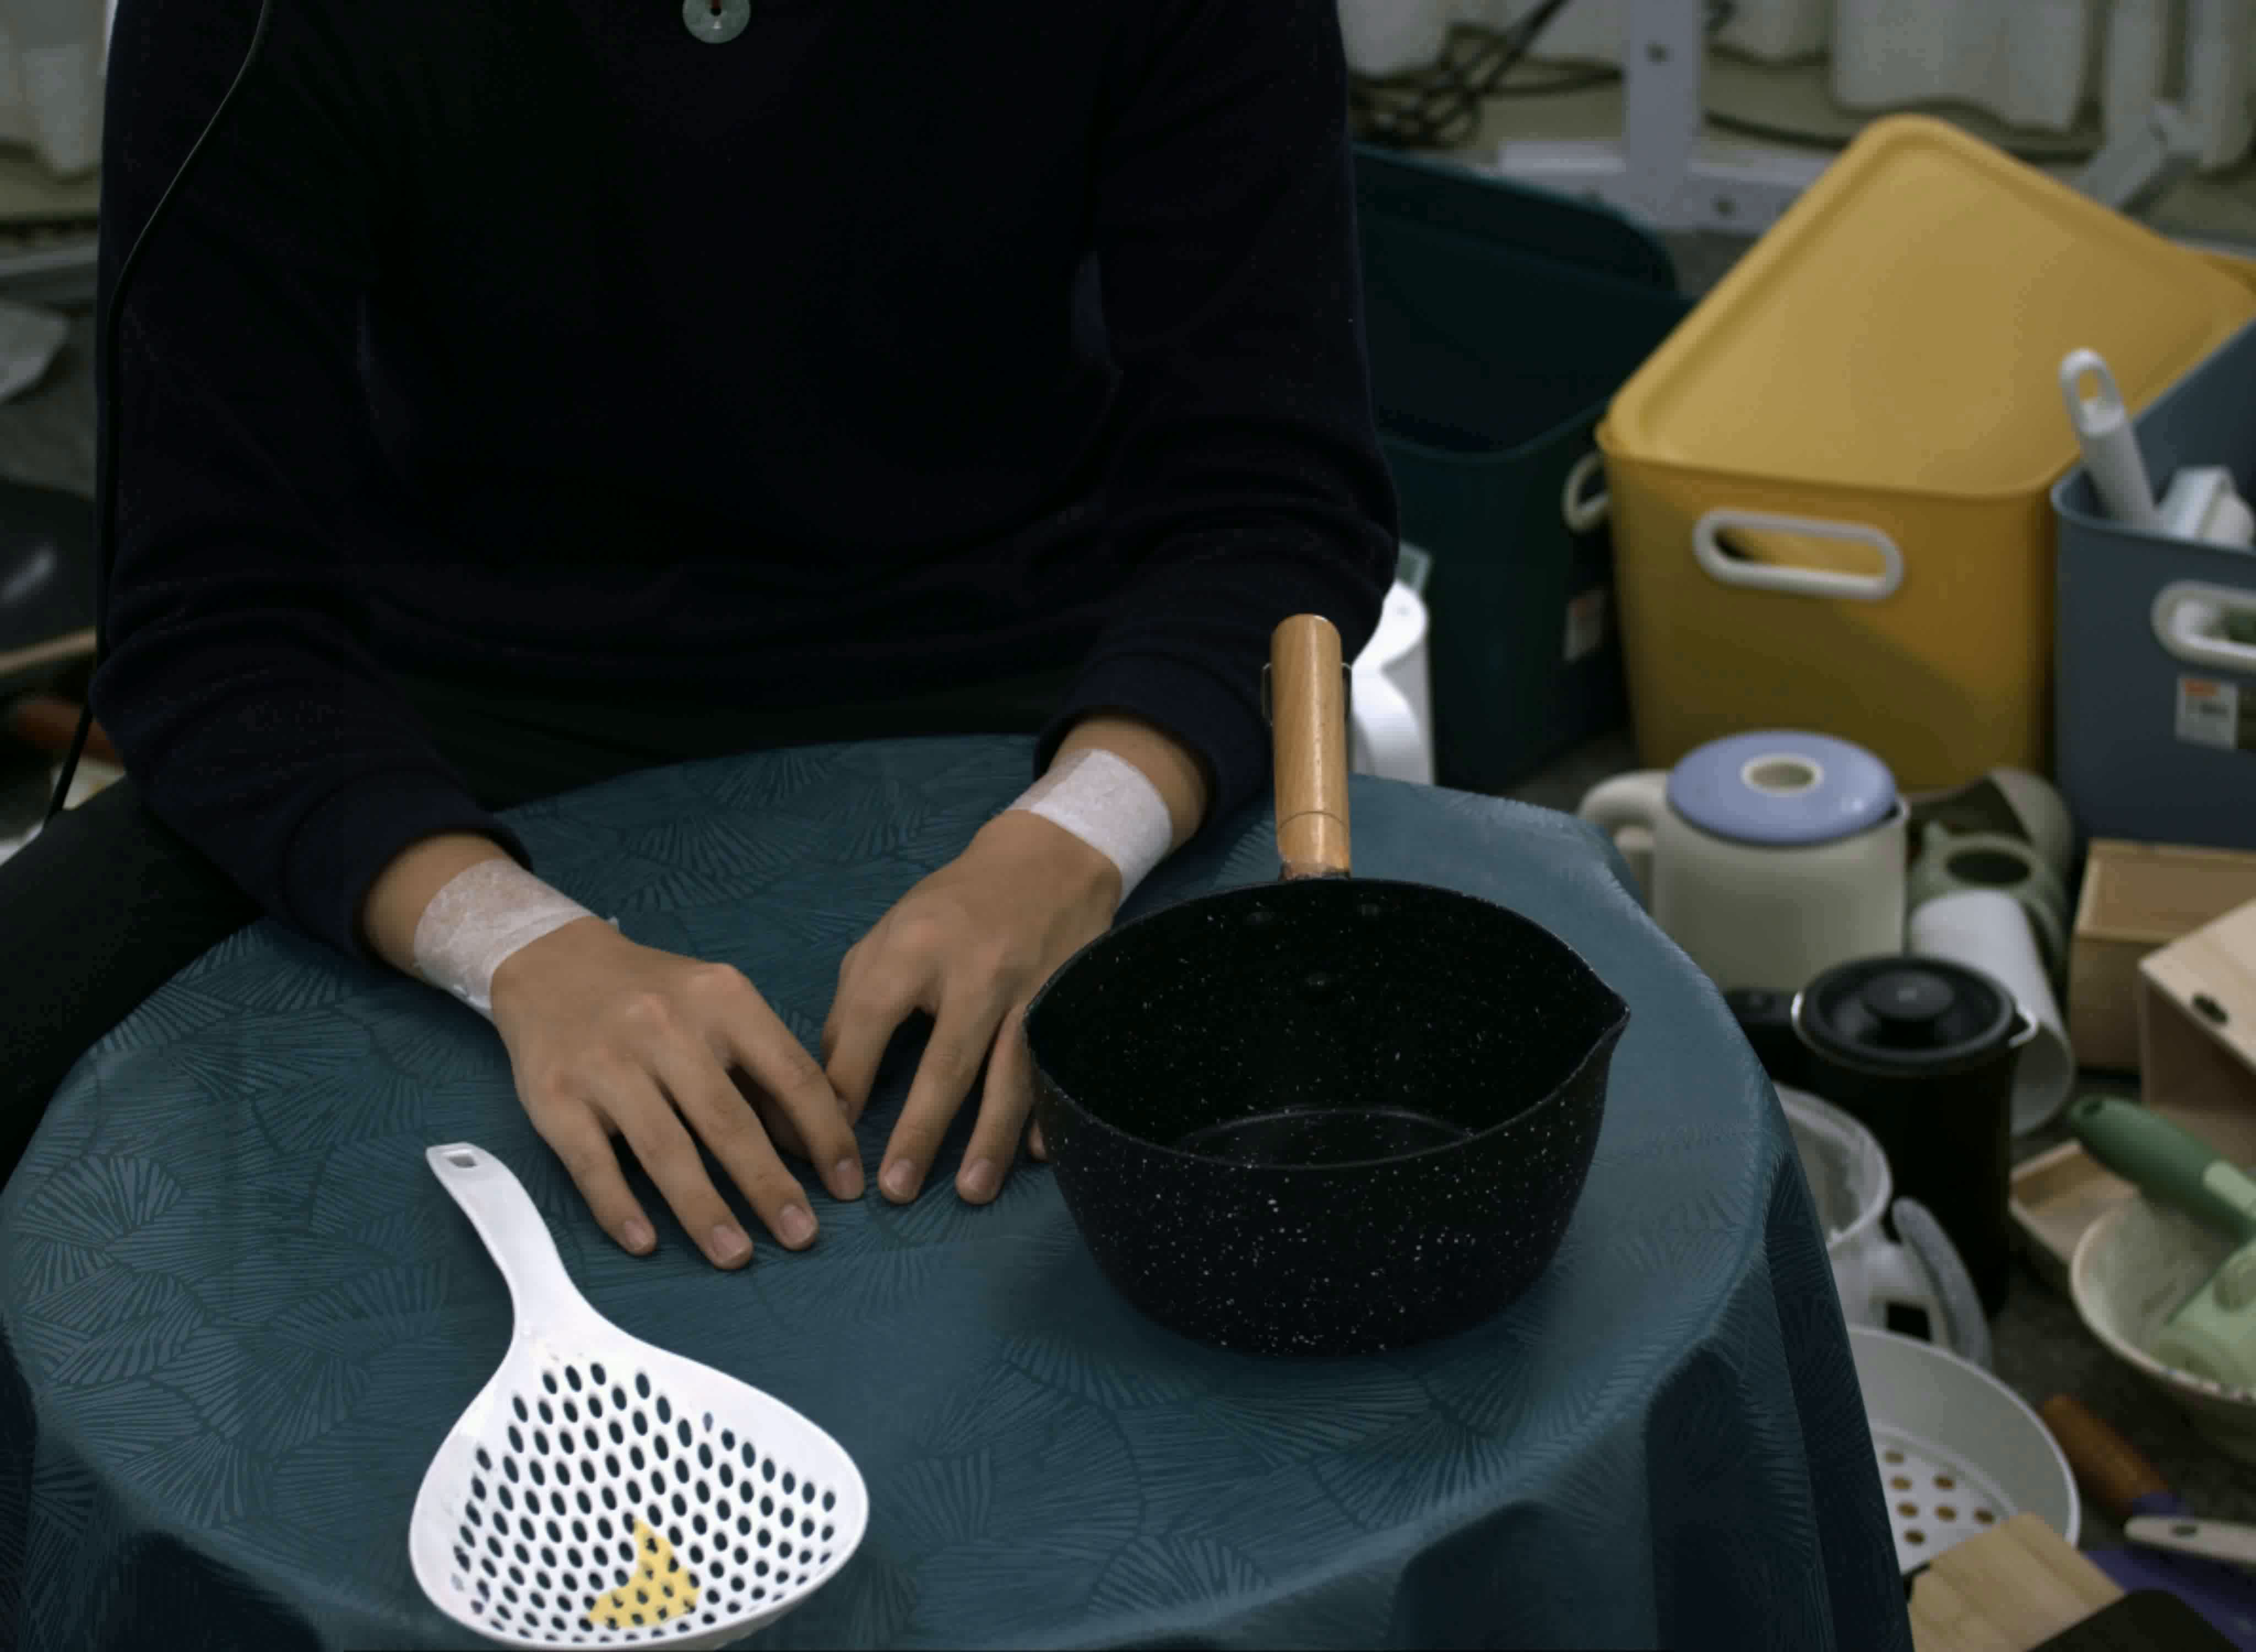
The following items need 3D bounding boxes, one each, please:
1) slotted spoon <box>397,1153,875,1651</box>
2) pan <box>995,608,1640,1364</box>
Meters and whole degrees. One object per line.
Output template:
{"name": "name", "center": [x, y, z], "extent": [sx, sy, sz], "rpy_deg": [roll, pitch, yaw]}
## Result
{"name": "slotted spoon", "center": [-0.178, 0.169, 1.743], "extent": [0.137, 0.050, 0.351], "rpy_deg": [-12, 30, -15]}
{"name": "pan", "center": [0.062, 0.050, 1.879], "extent": [0.206, 0.107, 0.348], "rpy_deg": [-3, 29, 1]}
